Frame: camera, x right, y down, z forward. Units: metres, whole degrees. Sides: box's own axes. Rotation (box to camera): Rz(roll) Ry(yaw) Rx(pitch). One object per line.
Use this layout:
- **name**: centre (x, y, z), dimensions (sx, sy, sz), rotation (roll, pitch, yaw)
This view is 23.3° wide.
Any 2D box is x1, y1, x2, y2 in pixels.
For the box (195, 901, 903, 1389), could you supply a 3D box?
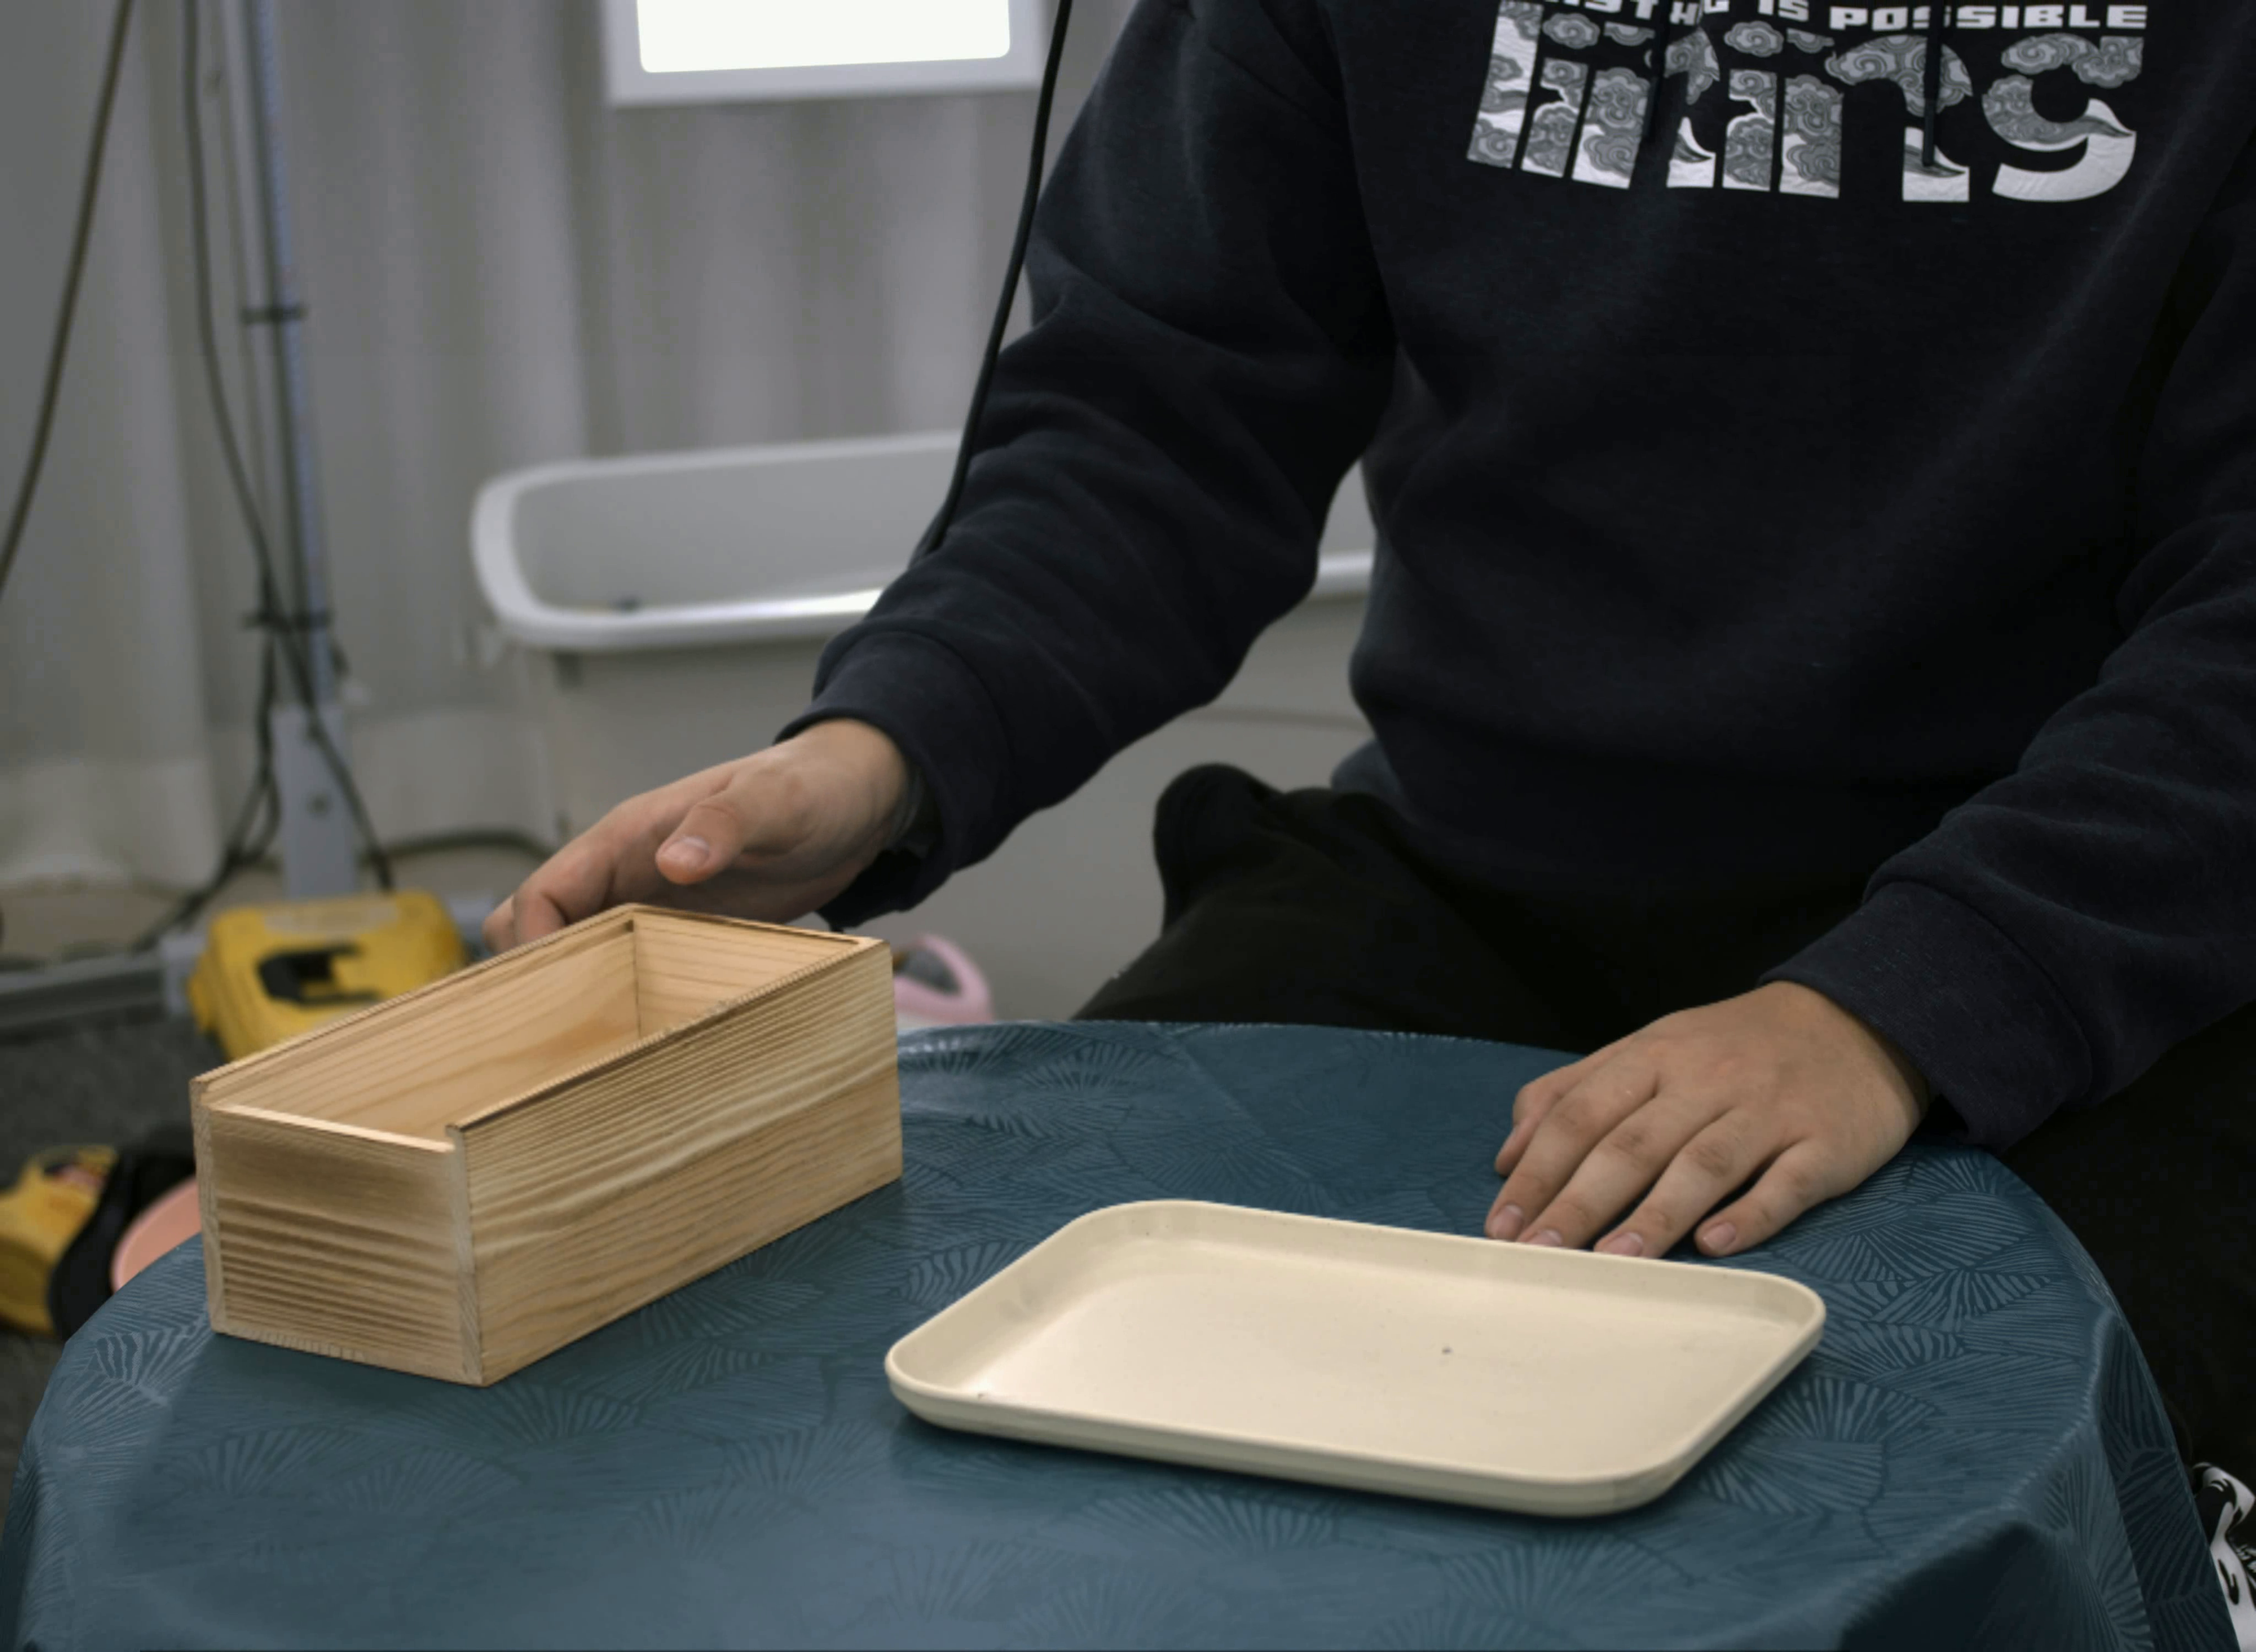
- **box**: centre (-0.173, 0.093, 1.674), dimensions (0.108, 0.080, 0.211), rotation (7, 18, 32)

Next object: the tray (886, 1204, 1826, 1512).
- **tray**: centre (0.065, 0.149, 1.542), dimensions (0.240, 0.017, 0.171), rotation (5, 16, 27)
